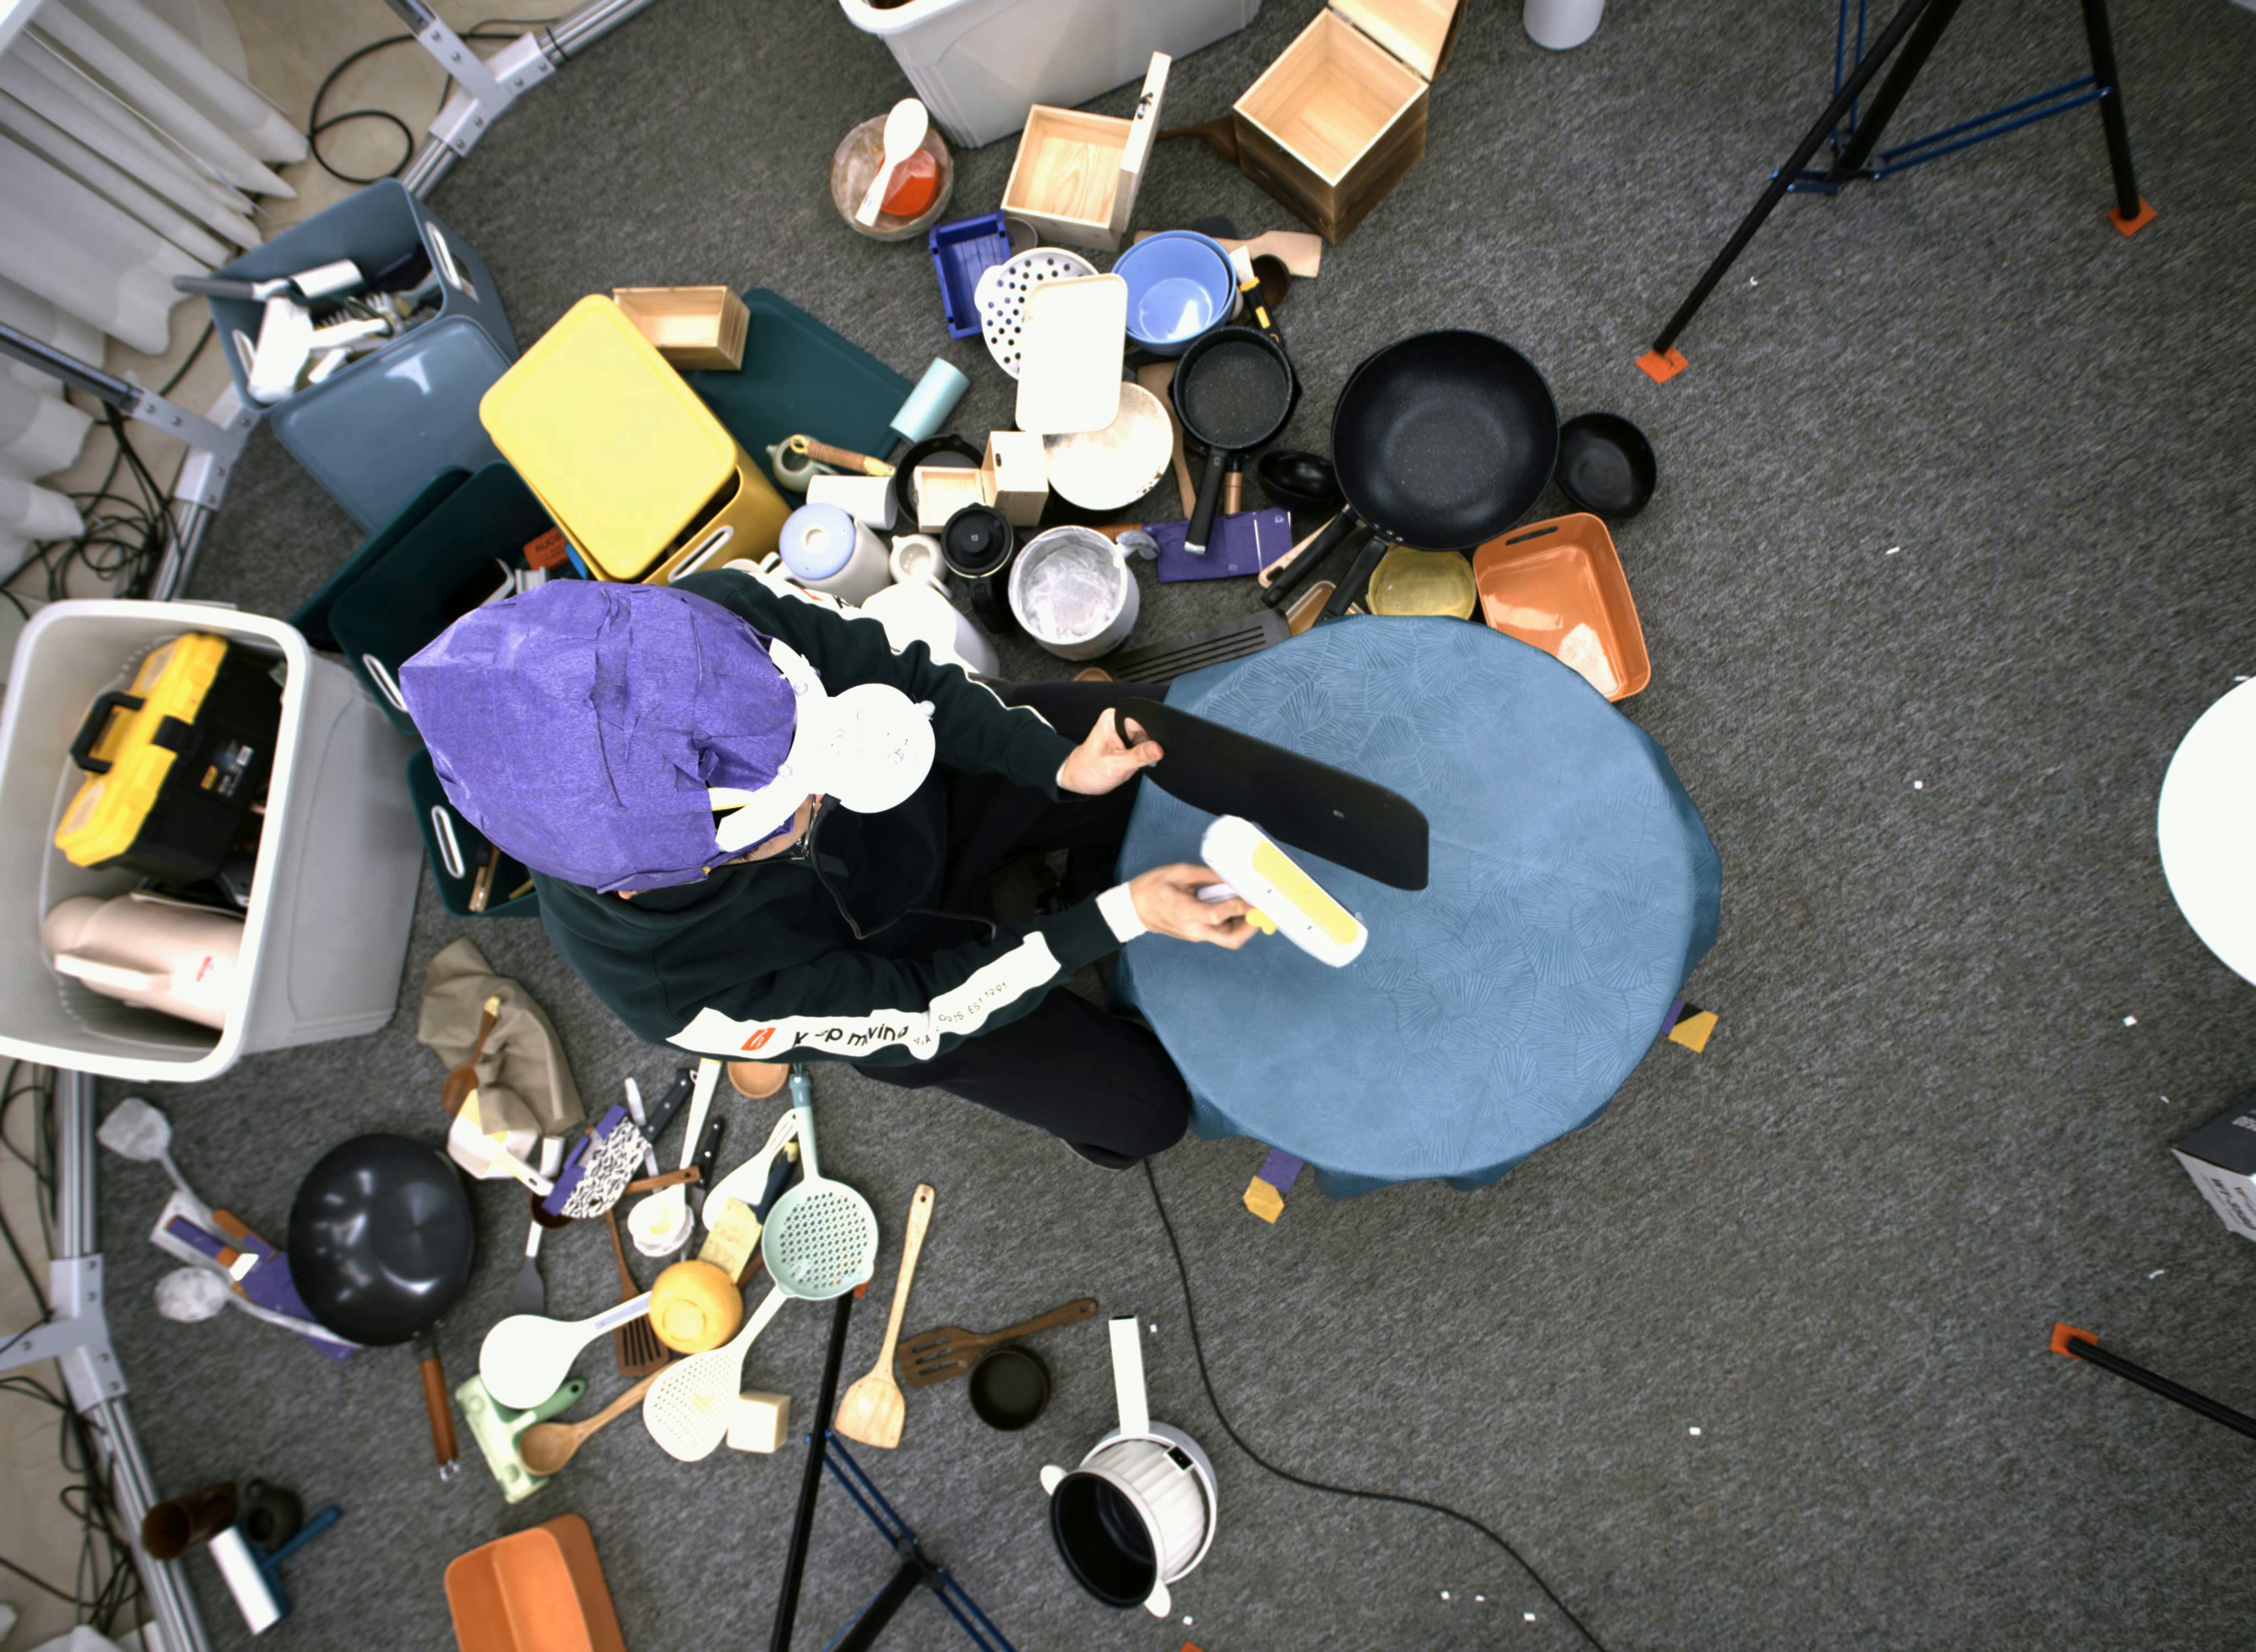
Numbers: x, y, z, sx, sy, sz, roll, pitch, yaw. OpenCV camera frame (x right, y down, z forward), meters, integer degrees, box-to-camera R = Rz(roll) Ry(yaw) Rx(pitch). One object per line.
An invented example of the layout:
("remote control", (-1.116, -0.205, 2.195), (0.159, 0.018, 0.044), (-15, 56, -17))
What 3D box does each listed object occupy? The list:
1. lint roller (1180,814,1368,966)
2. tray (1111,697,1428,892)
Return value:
("lint roller", (0.117, 0.066, 1.338), (0.194, 0.193, 0.073), (36, 76, -22))
("tray", (0.129, -0.032, 1.289), (0.325, 0.214, 0.009), (23, 72, 20))
